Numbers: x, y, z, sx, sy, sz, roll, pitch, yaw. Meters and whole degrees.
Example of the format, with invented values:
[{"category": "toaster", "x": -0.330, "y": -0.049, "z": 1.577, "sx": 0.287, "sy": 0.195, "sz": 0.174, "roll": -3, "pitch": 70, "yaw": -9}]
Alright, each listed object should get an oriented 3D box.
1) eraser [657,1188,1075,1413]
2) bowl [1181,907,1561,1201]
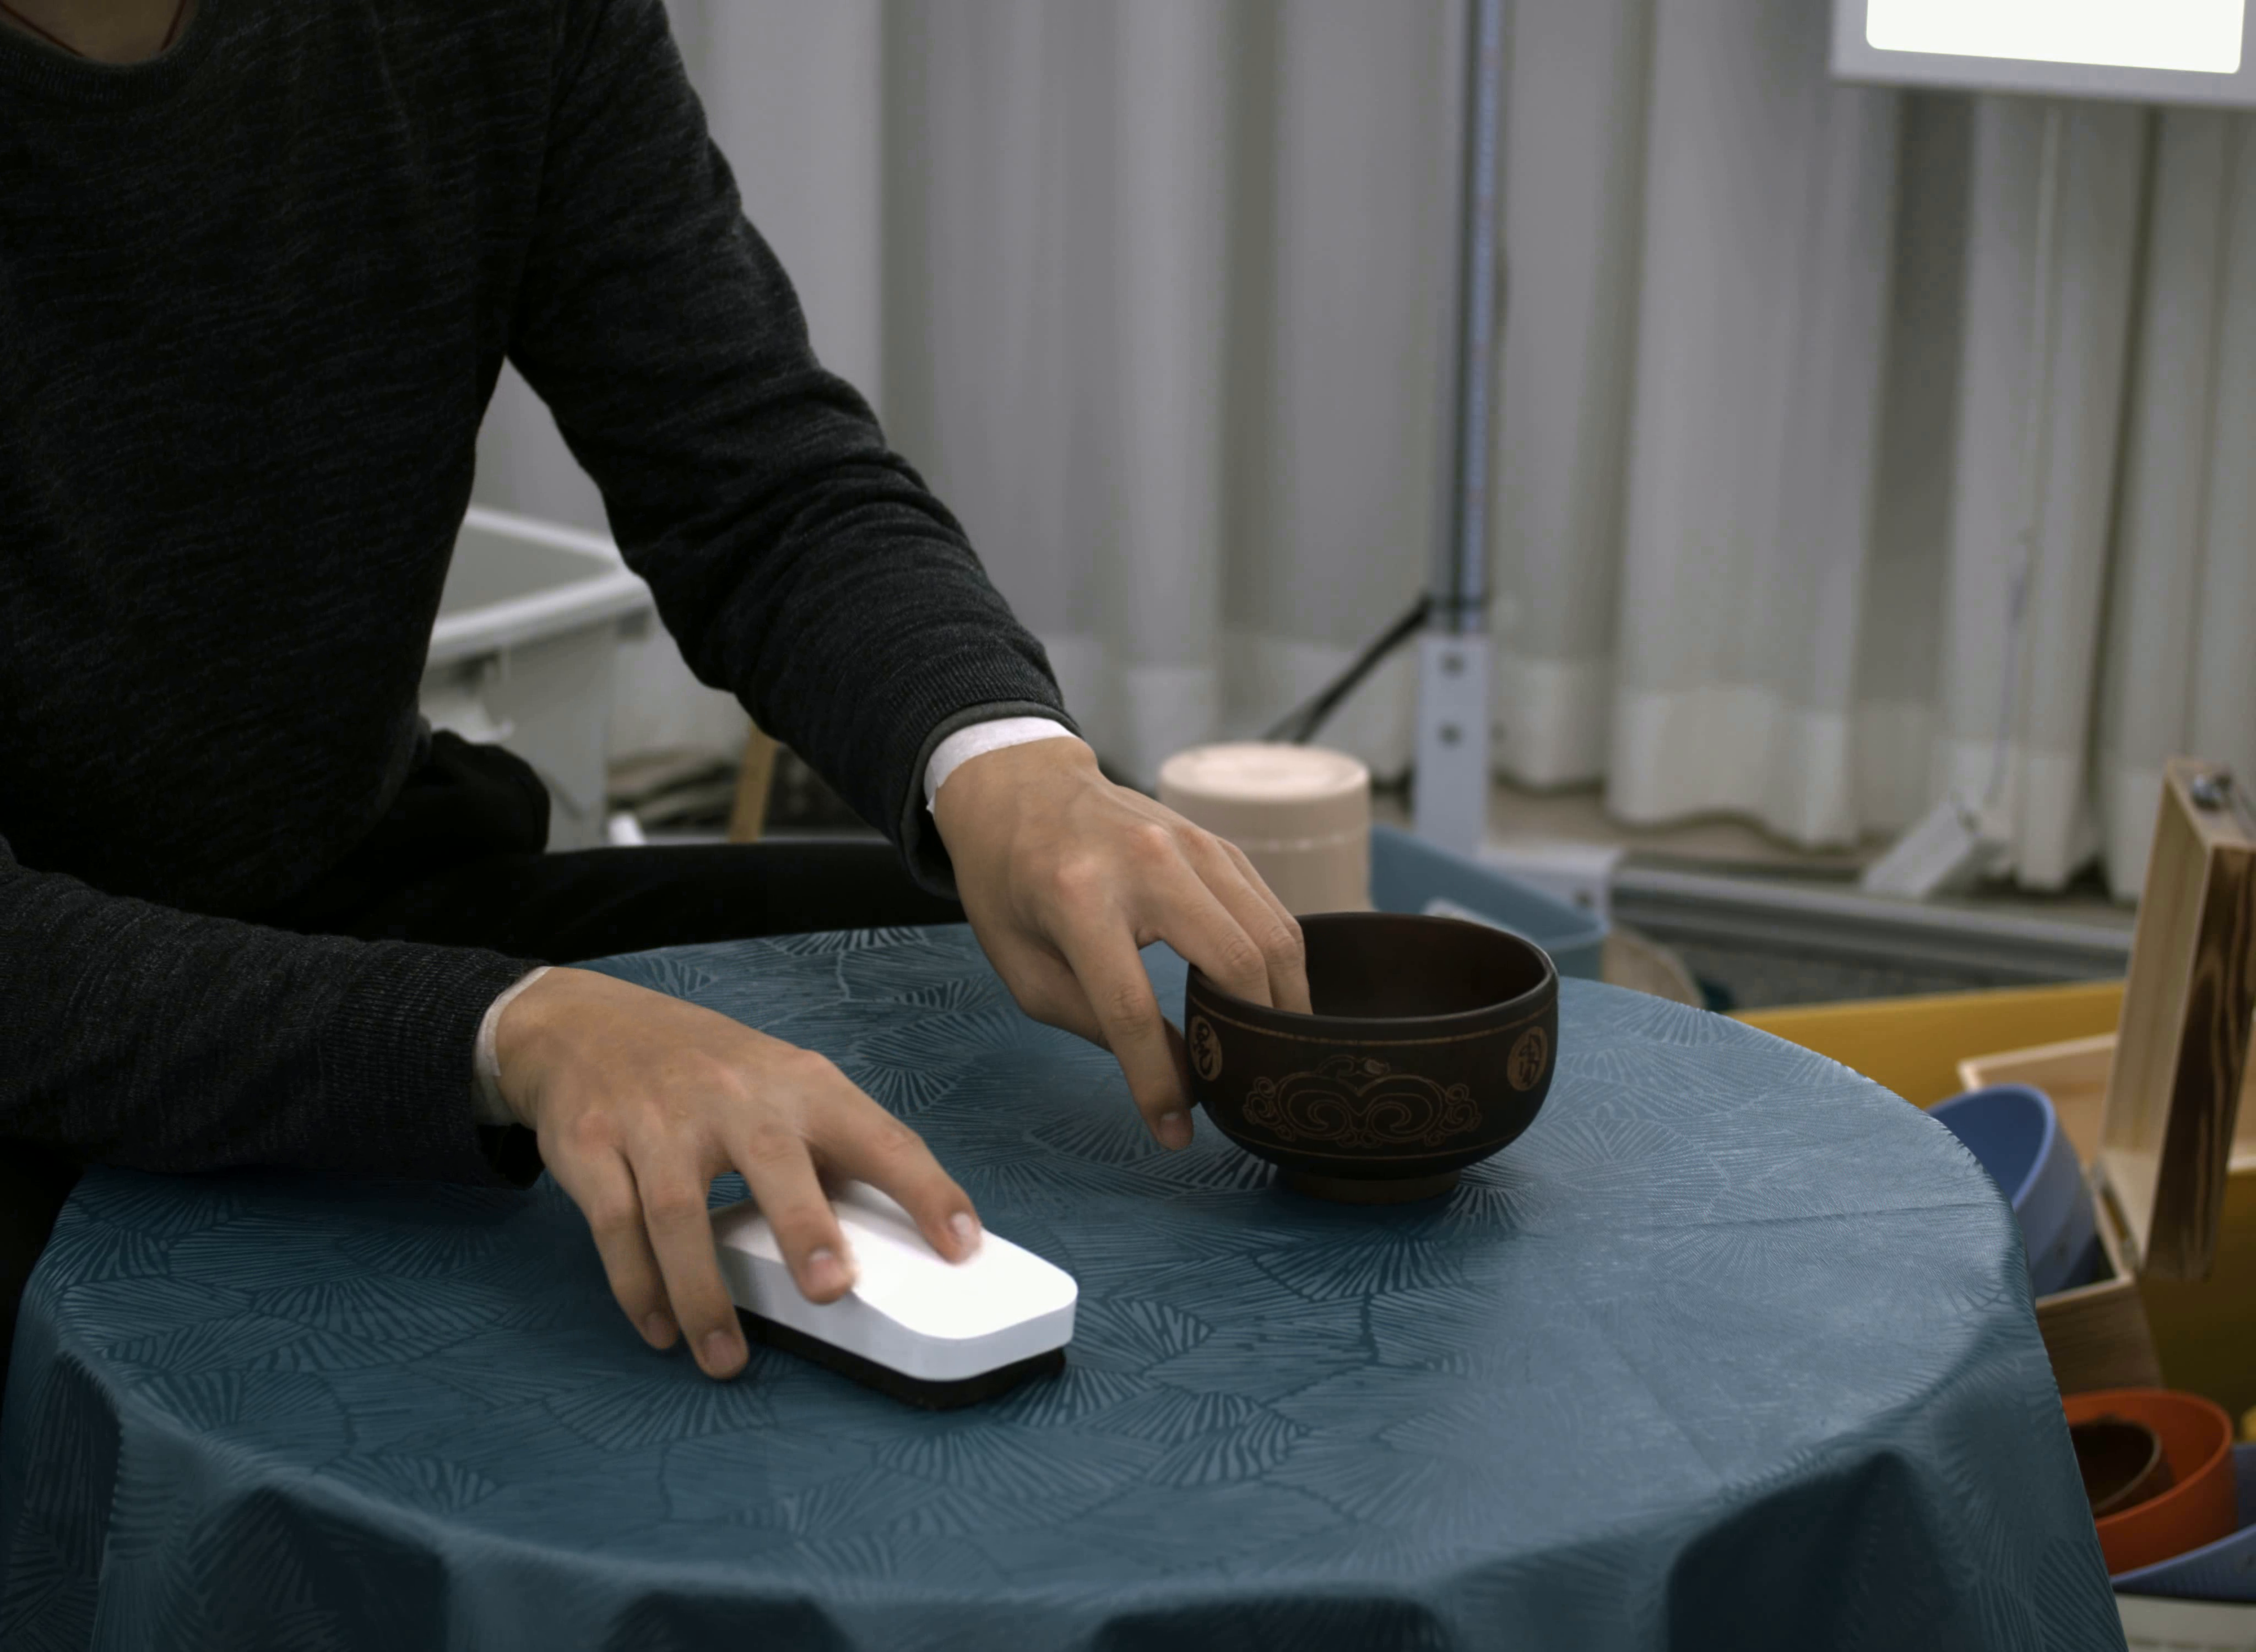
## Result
[{"category": "eraser", "x": -0.074, "y": 0.131, "z": 1.496, "sx": 0.064, "sy": 0.035, "sz": 0.129, "roll": -13, "pitch": 21, "yaw": -42}, {"category": "bowl", "x": 0.075, "y": 0.074, "z": 1.627, "sx": 0.117, "sy": 0.070, "sz": 0.117, "roll": -1, "pitch": 16, "yaw": 1}]
